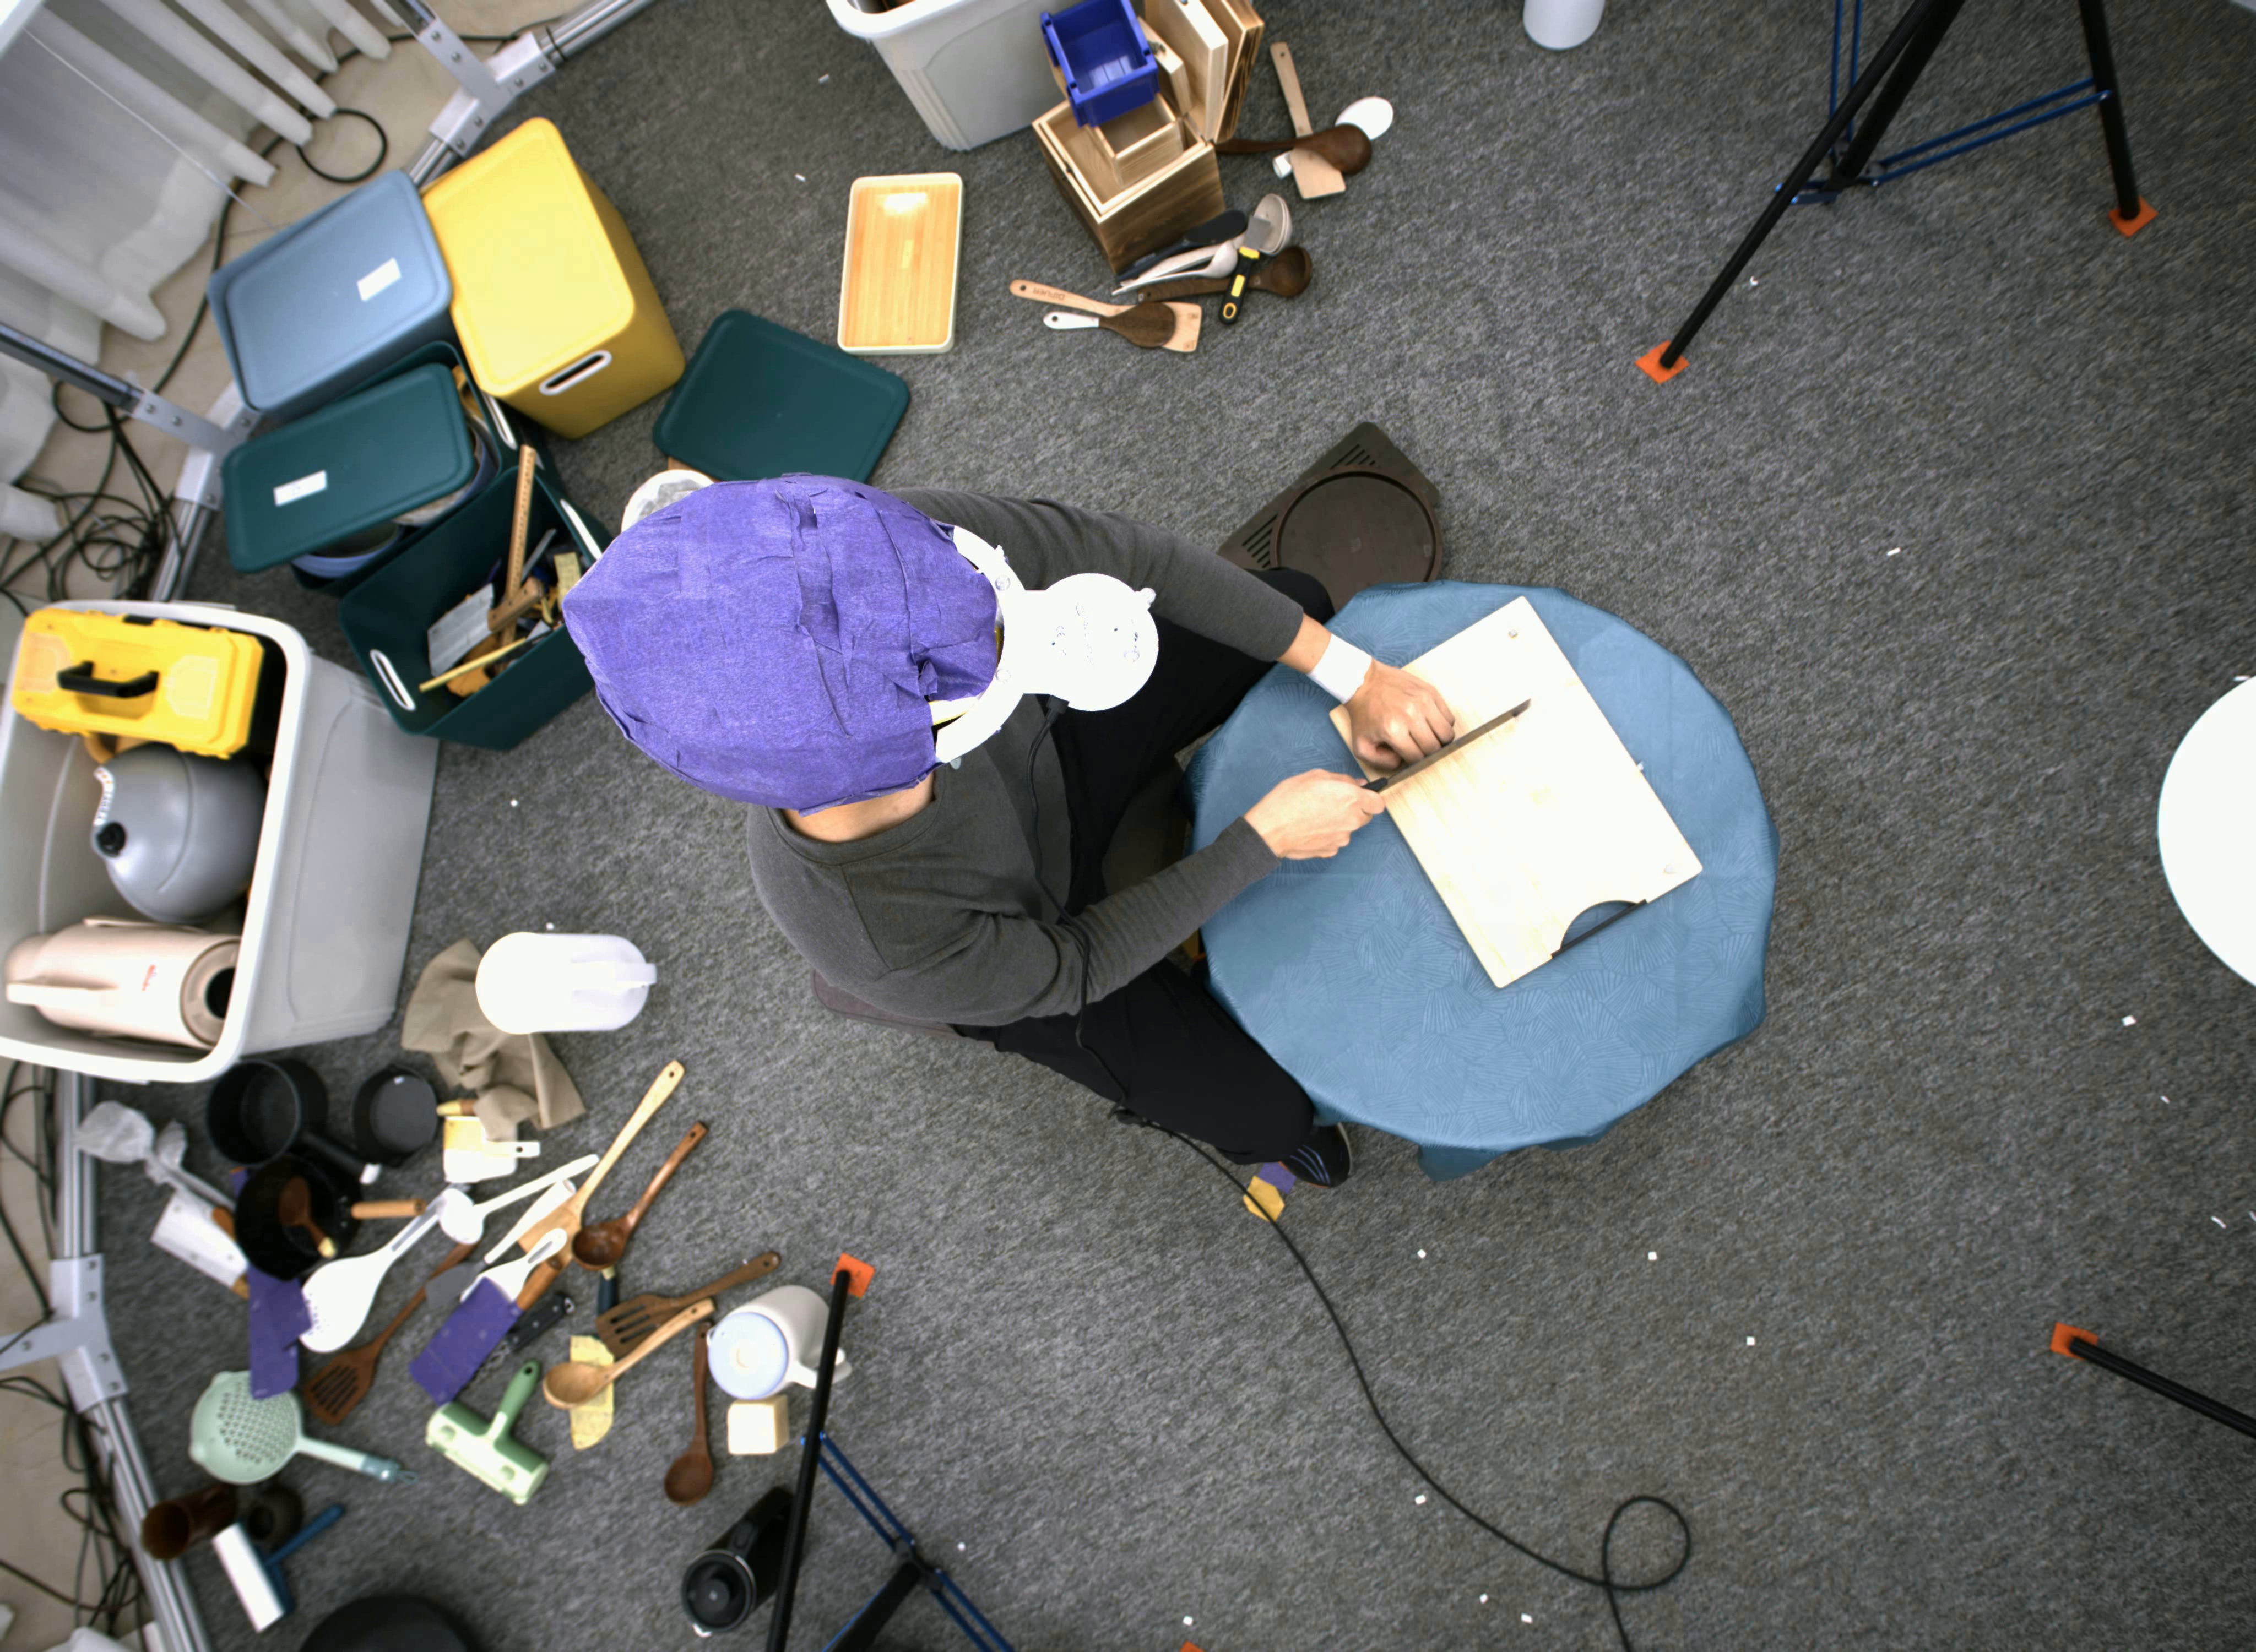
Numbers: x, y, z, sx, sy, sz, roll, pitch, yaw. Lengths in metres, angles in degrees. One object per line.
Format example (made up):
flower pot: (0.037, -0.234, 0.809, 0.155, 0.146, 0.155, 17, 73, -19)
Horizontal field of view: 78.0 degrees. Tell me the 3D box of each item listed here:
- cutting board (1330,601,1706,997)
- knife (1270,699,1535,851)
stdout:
cutting board: (0.402, -0.035, 1.433, 0.252, 0.023, 0.346, -32, 81, 8)
knife: (0.280, -0.054, 1.404, 0.303, 0.081, 0.020, -28, 78, 1)
